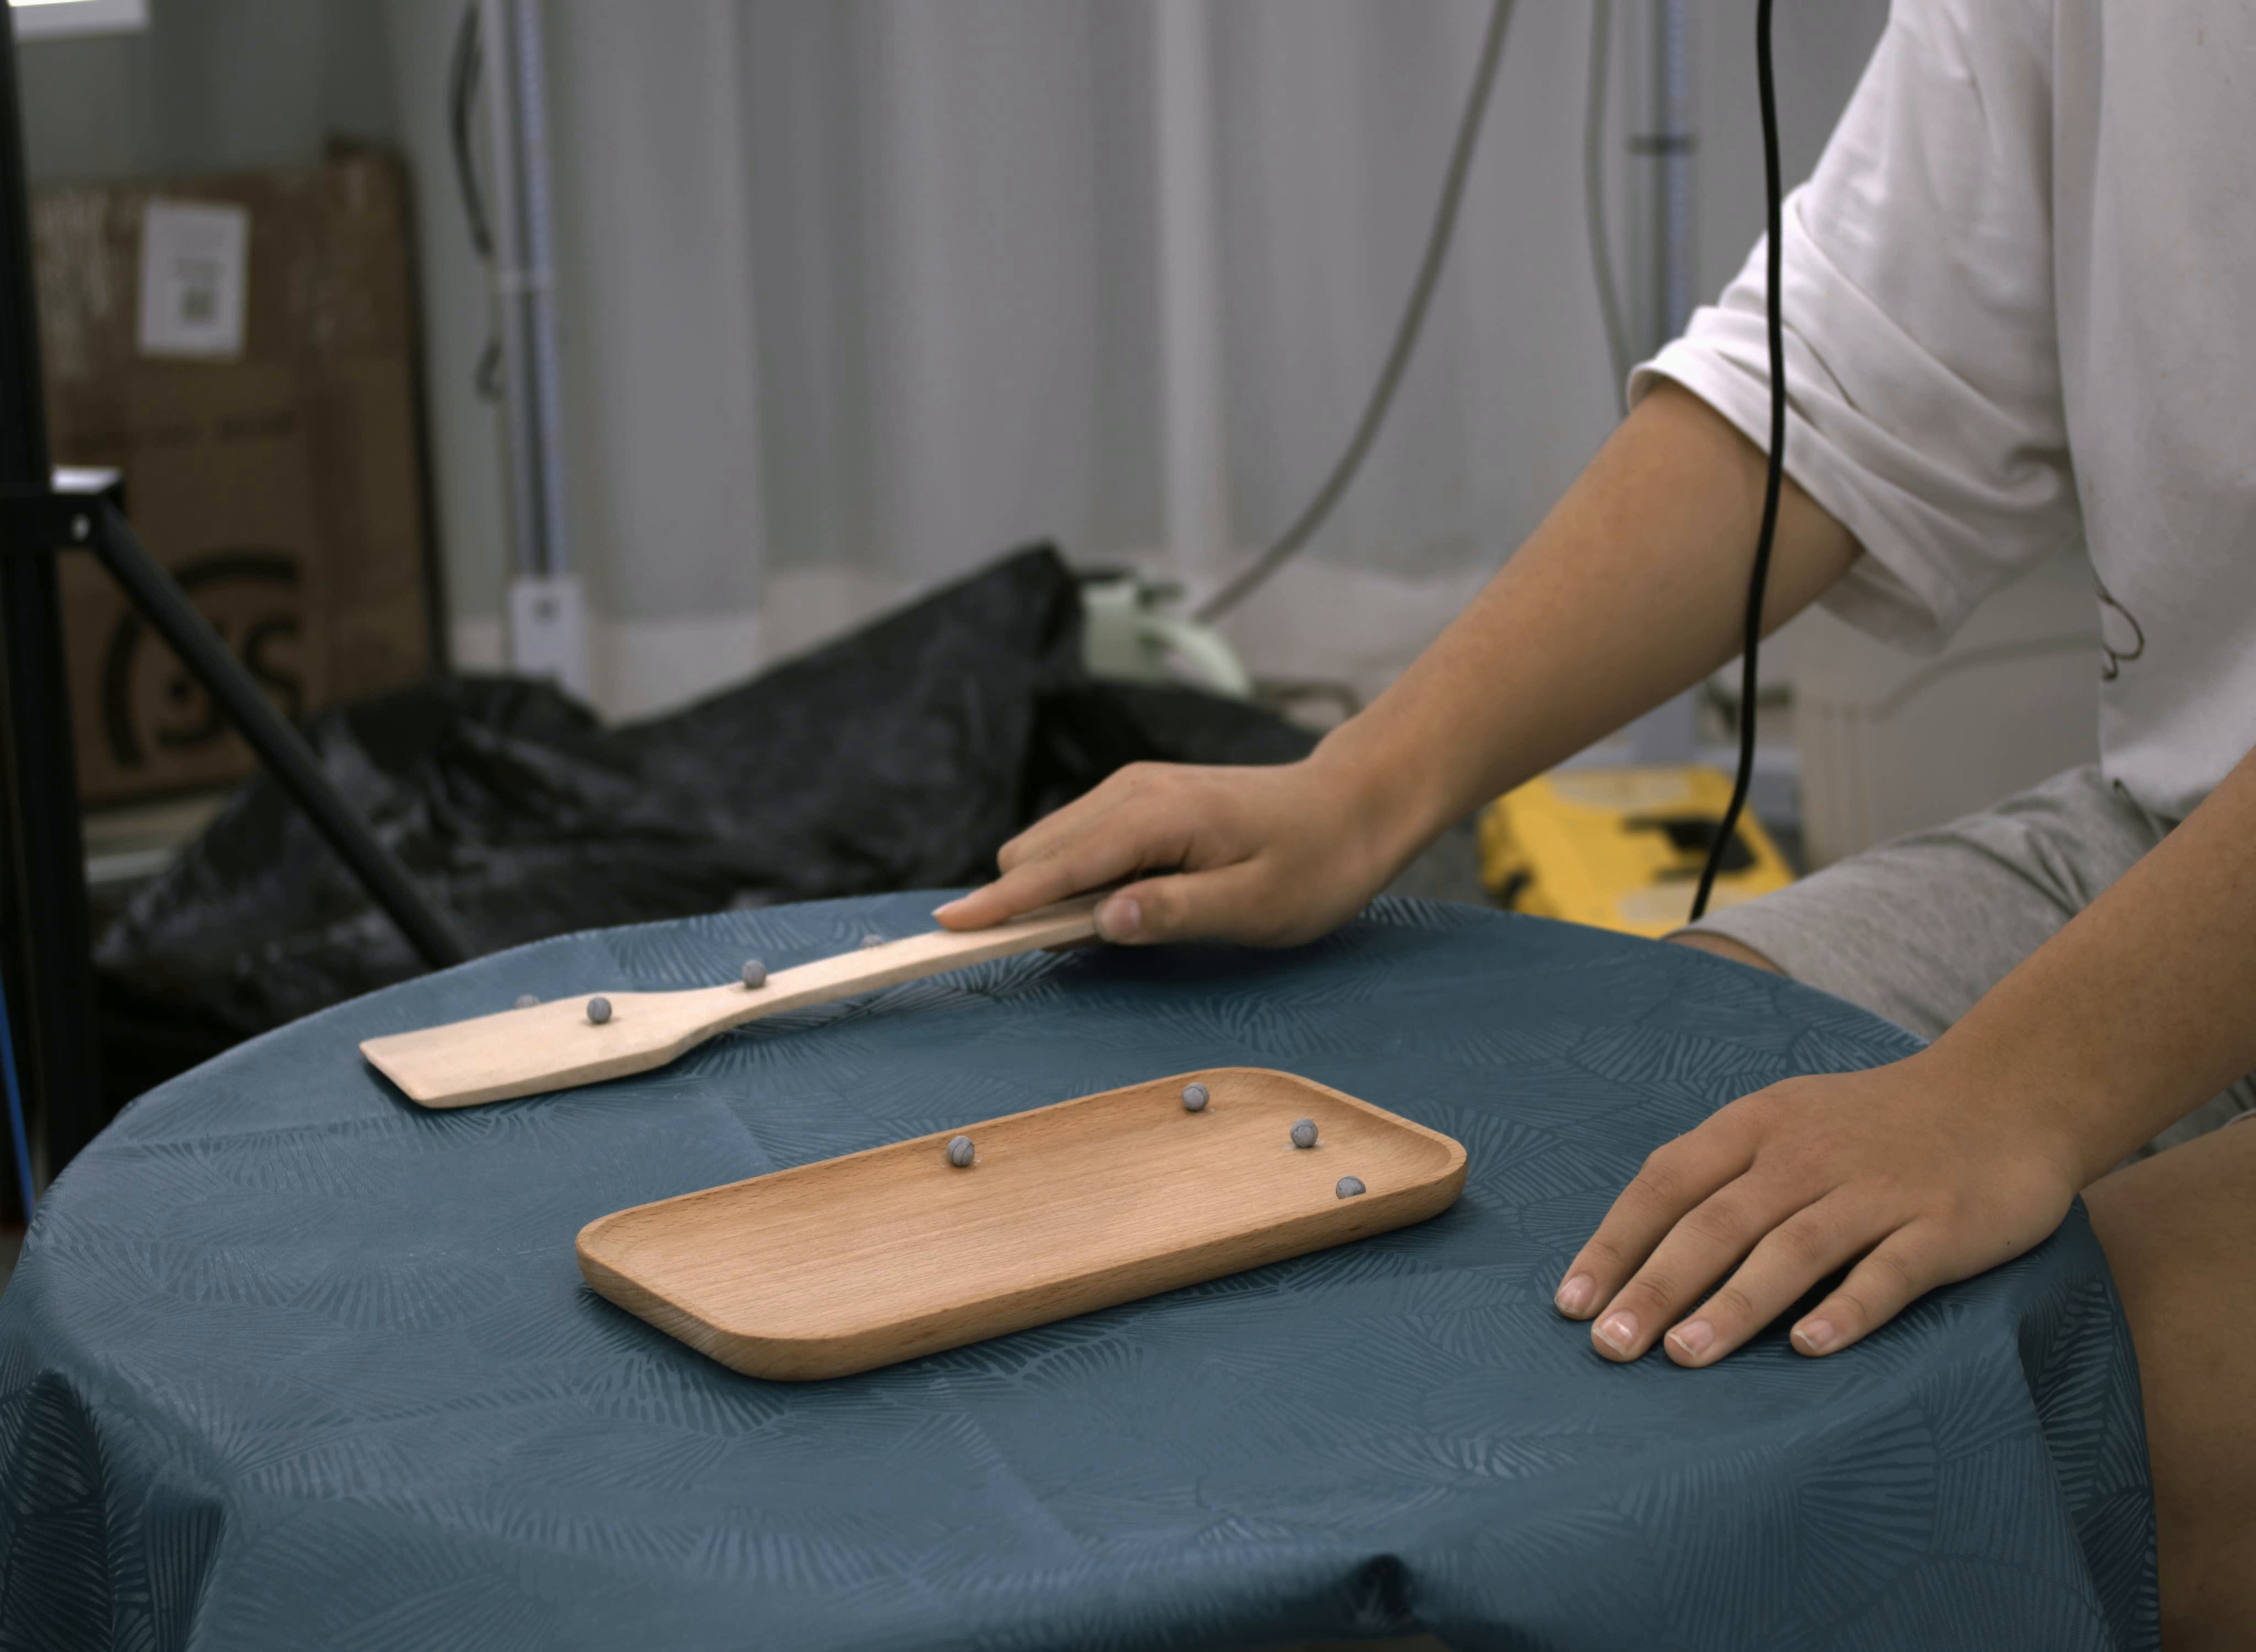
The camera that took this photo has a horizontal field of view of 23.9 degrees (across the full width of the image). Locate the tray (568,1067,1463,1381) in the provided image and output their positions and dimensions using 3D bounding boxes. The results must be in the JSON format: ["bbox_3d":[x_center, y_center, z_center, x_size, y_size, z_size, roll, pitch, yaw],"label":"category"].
[{"bbox_3d":[-0.030,0.112,1.521,0.245,0.023,0.133,-12,16,-30],"label":"tray"}]

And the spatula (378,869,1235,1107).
[{"bbox_3d":[-0.098,0.050,1.732,0.288,0.010,0.073,-14,17,-20],"label":"spatula"}]
